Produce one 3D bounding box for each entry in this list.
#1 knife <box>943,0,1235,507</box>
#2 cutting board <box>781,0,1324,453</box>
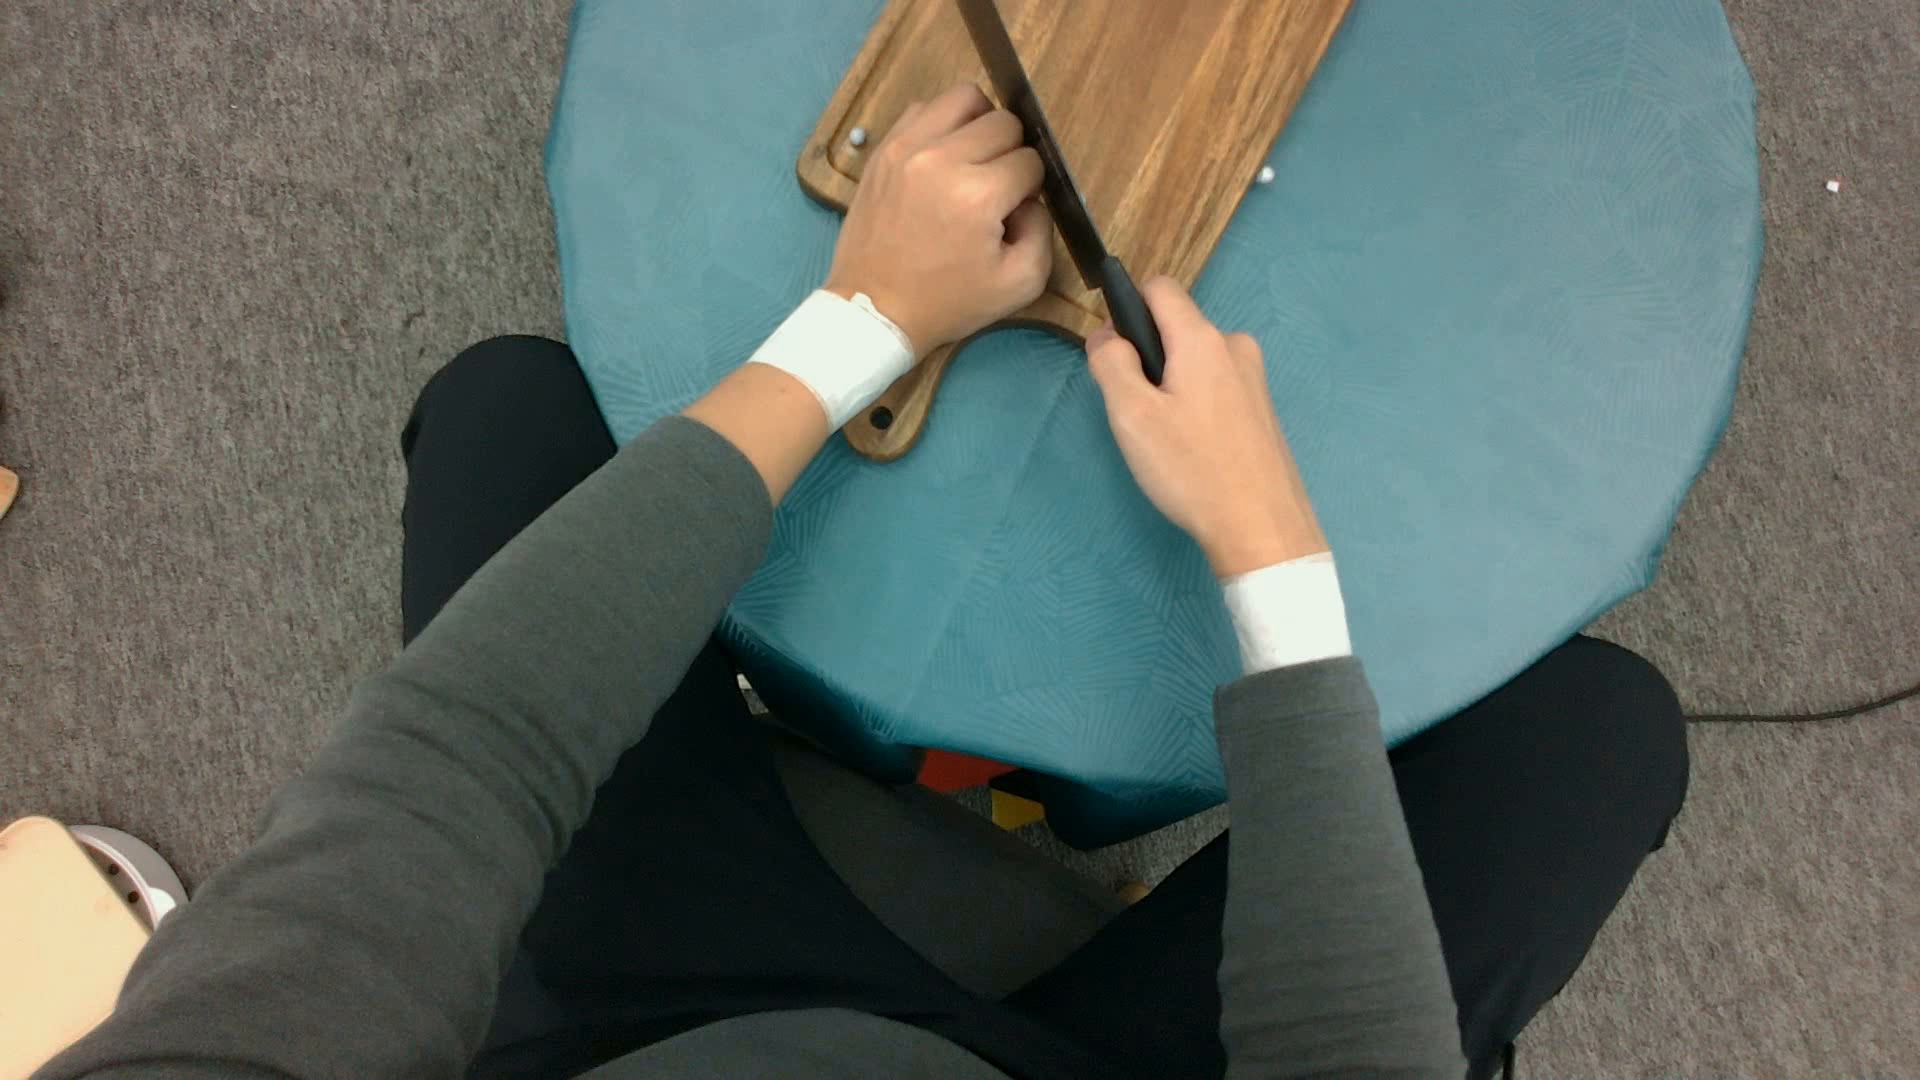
[{"bbox_3d":[0.047,-0.150,0.616,0.021,0.081,0.302,-28,93,-2],"label":"knife"},{"bbox_3d":[0.032,-0.200,0.671,0.201,0.023,0.352,28,85,1],"label":"cutting board"}]
